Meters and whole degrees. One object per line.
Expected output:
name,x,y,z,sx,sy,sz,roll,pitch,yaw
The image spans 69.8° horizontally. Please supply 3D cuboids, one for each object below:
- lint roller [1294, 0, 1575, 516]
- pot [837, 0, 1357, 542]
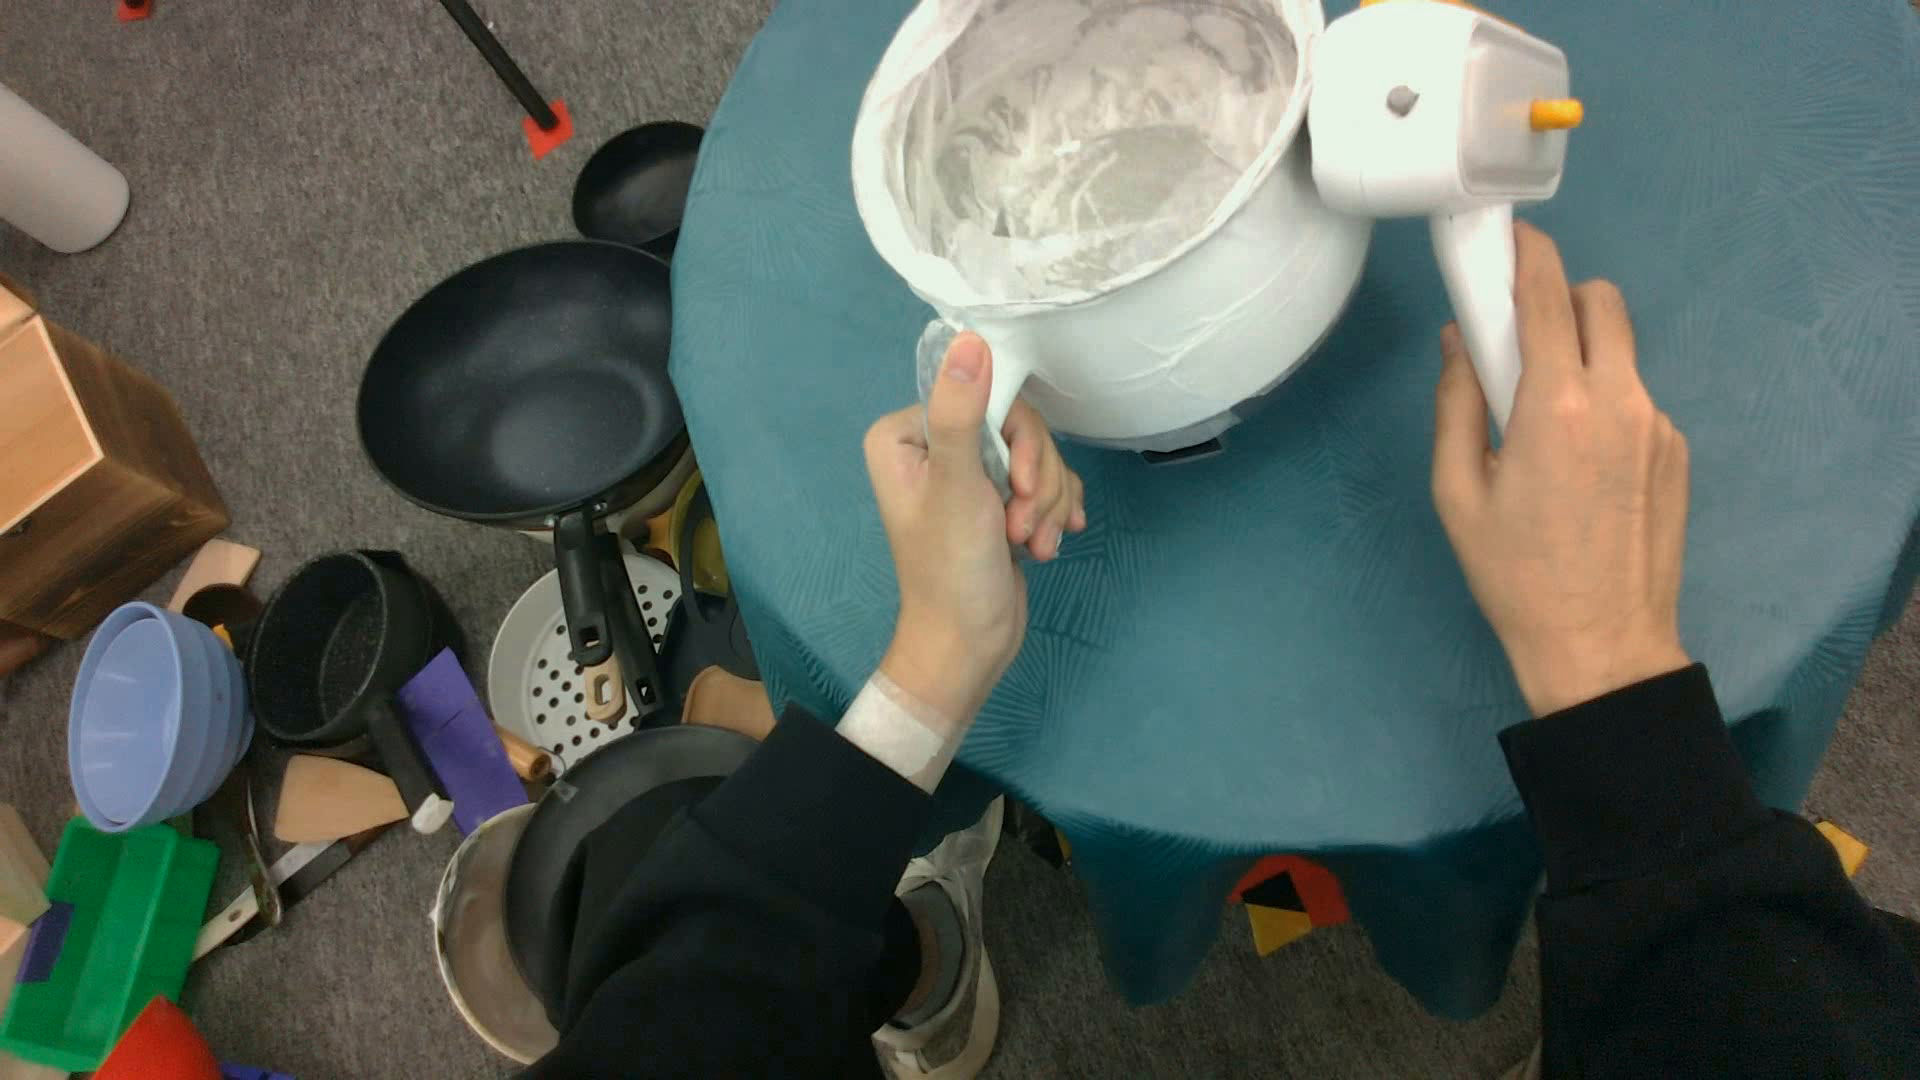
lint roller,0.185,-0.101,0.506,0.074,0.193,0.192,-5,103,28
pot,0.048,-0.119,0.538,0.178,0.136,0.234,18,76,34
